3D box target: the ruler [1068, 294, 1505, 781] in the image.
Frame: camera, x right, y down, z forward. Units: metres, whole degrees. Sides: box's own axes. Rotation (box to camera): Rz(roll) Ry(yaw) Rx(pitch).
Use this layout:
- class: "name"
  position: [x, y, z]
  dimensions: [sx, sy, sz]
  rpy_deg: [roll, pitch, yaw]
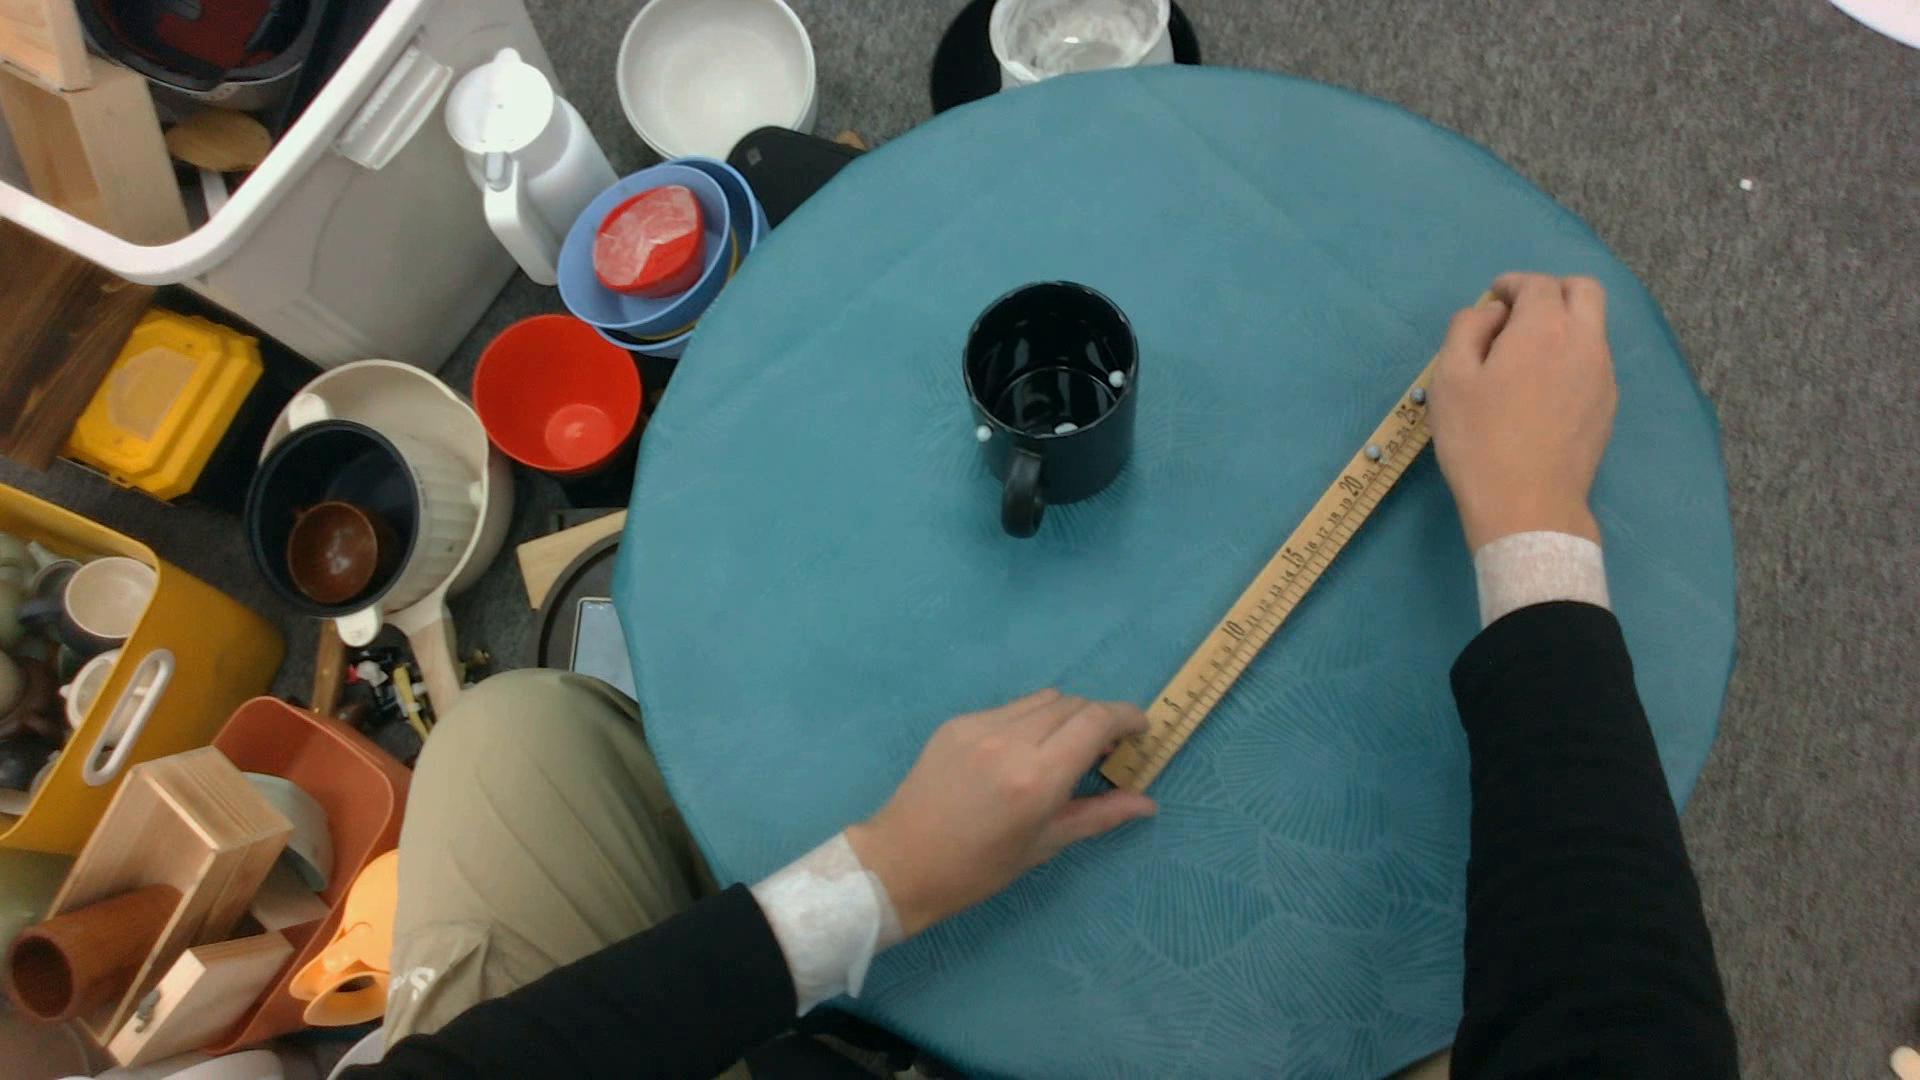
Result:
- class: "ruler"
  position: [0.175, -0.006, 0.723]
  dimensions: [0.027, 0.022, 0.332]
  rpy_deg: [40, 83, 22]

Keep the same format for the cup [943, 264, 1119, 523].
- class: "cup"
  position: [0.033, -0.068, 0.724]
  dimensions: [0.088, 0.105, 0.124]
  rpy_deg: [15, 75, 8]
